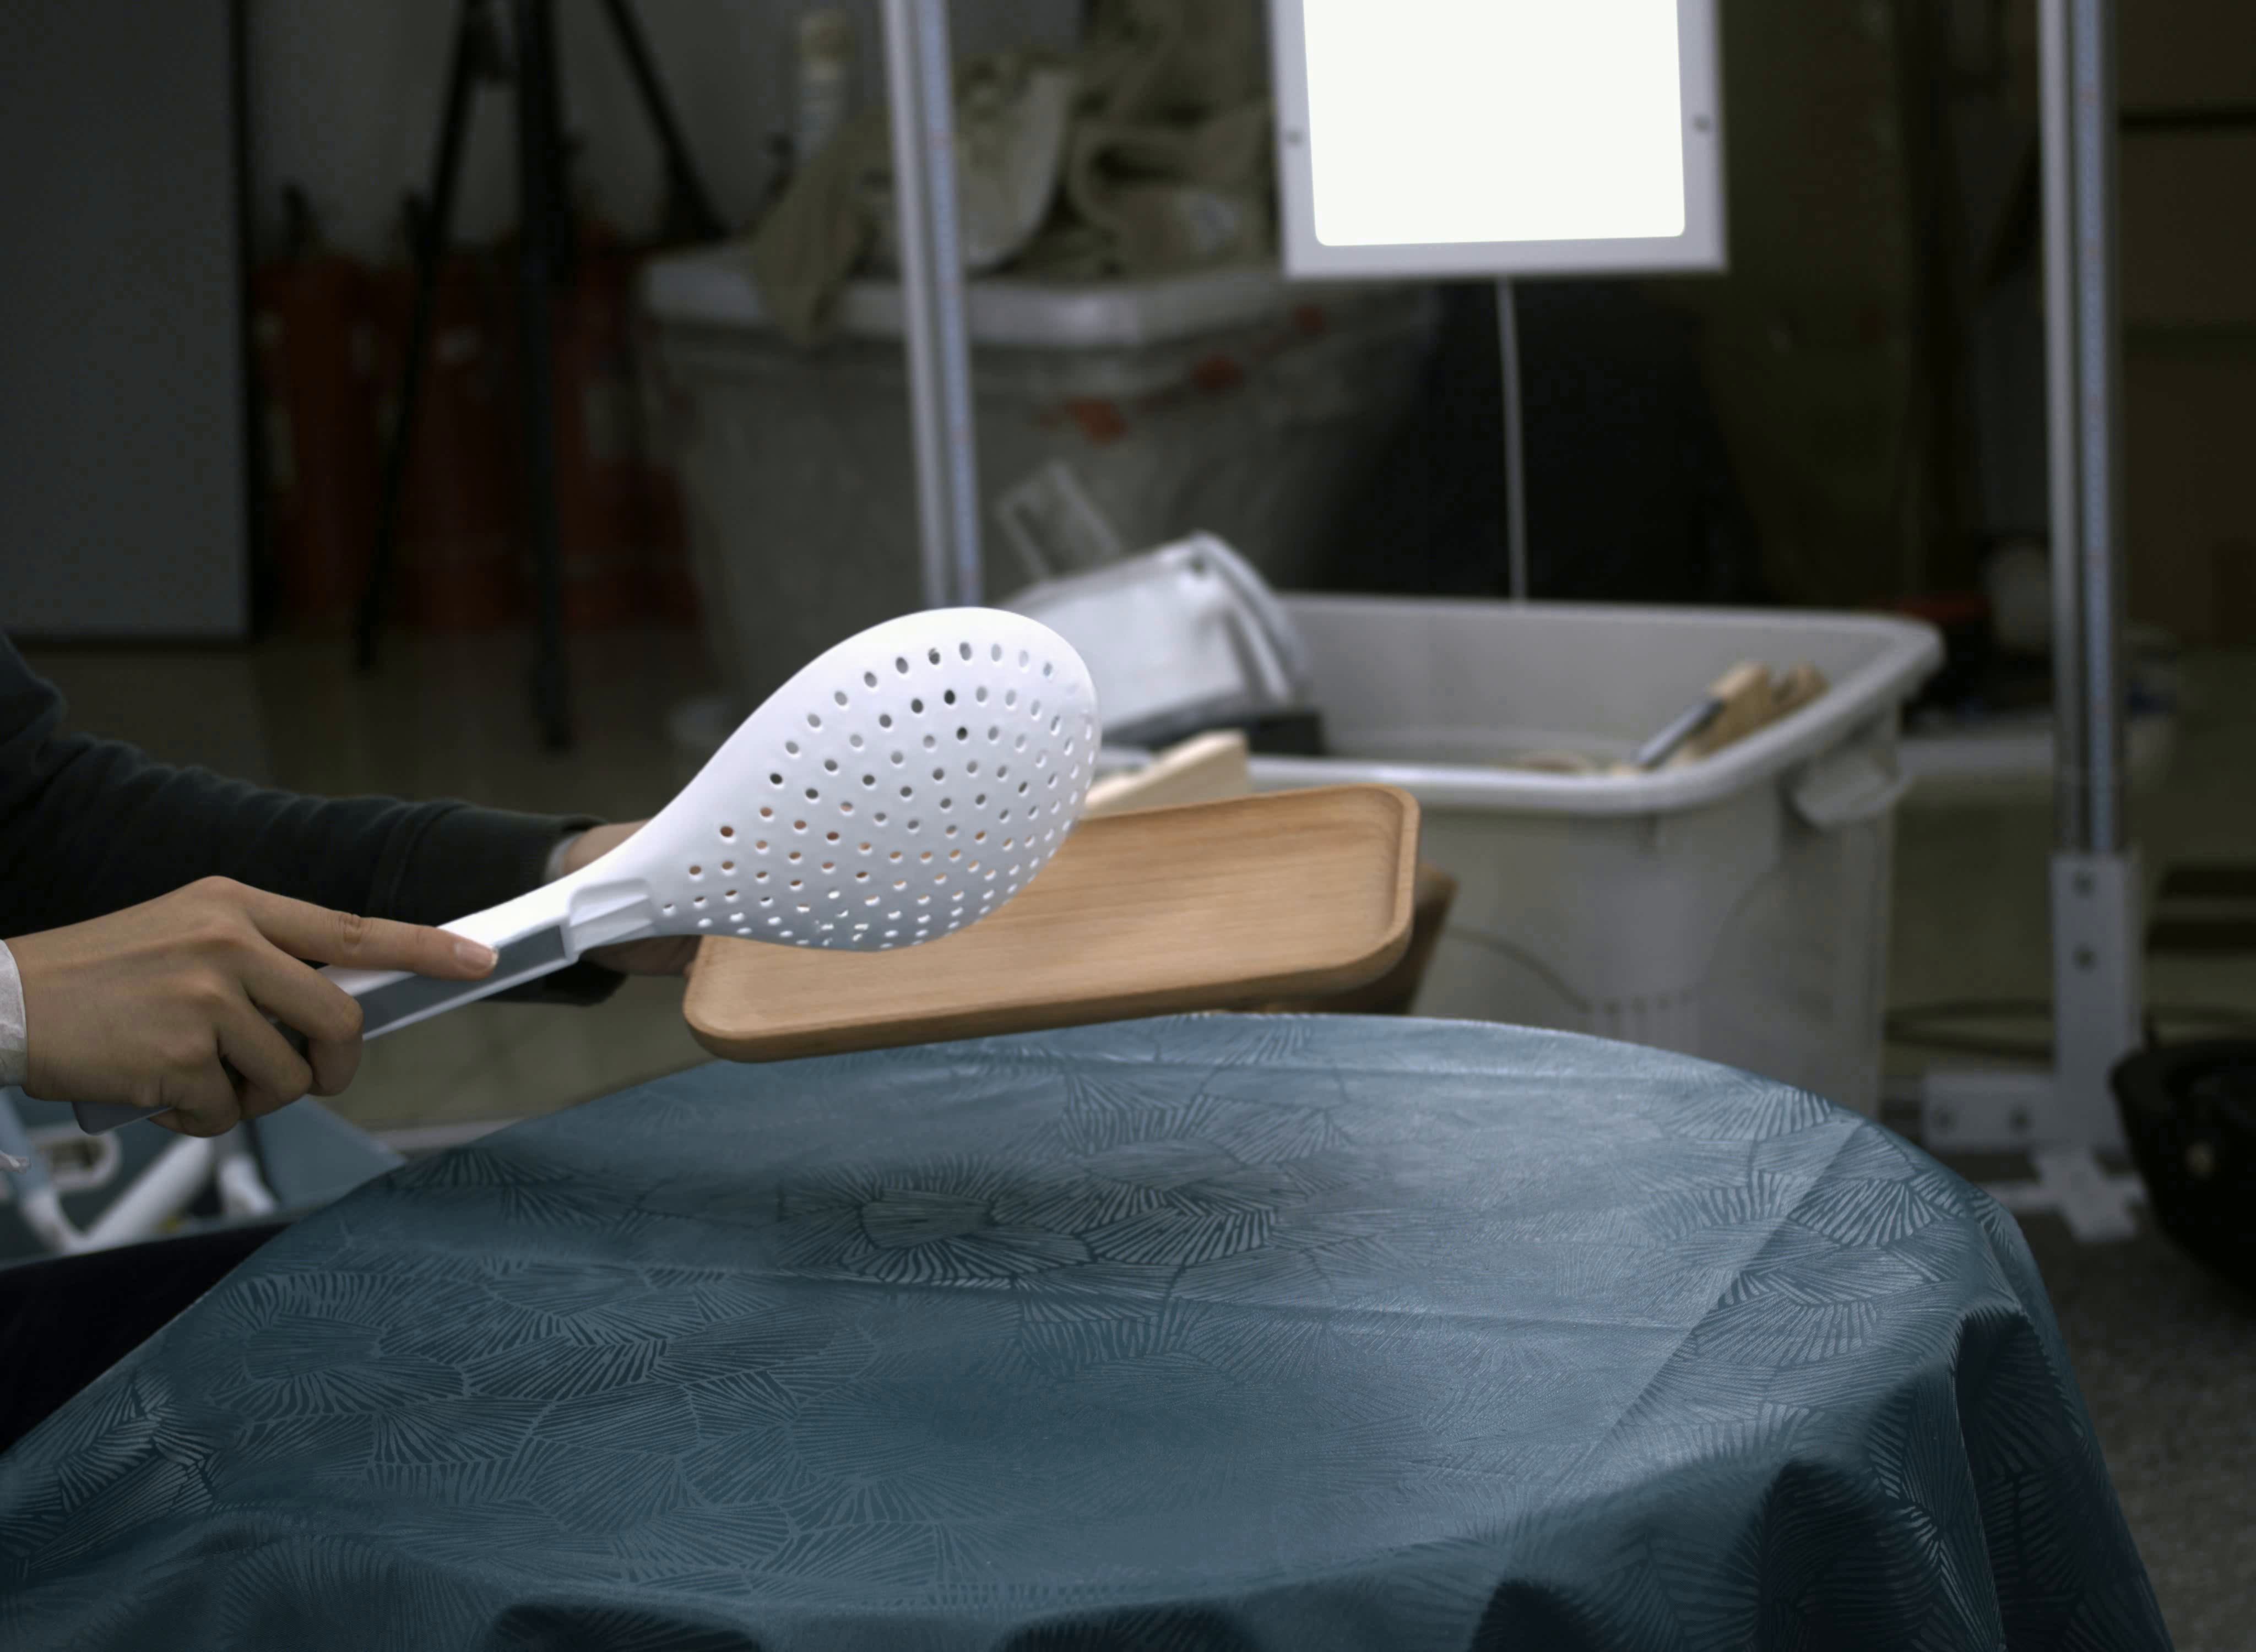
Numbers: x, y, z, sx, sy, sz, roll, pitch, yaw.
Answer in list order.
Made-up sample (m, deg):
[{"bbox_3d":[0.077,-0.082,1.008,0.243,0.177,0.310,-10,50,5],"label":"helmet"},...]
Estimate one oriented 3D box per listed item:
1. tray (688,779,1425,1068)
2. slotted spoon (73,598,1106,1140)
[{"bbox_3d":[-0.023,0.034,1.873,0.253,0.023,0.129,-8,27,13],"label":"tray"},{"bbox_3d":[-0.164,0.025,1.734,0.346,0.136,0.046,-17,43,-8],"label":"slotted spoon"}]
